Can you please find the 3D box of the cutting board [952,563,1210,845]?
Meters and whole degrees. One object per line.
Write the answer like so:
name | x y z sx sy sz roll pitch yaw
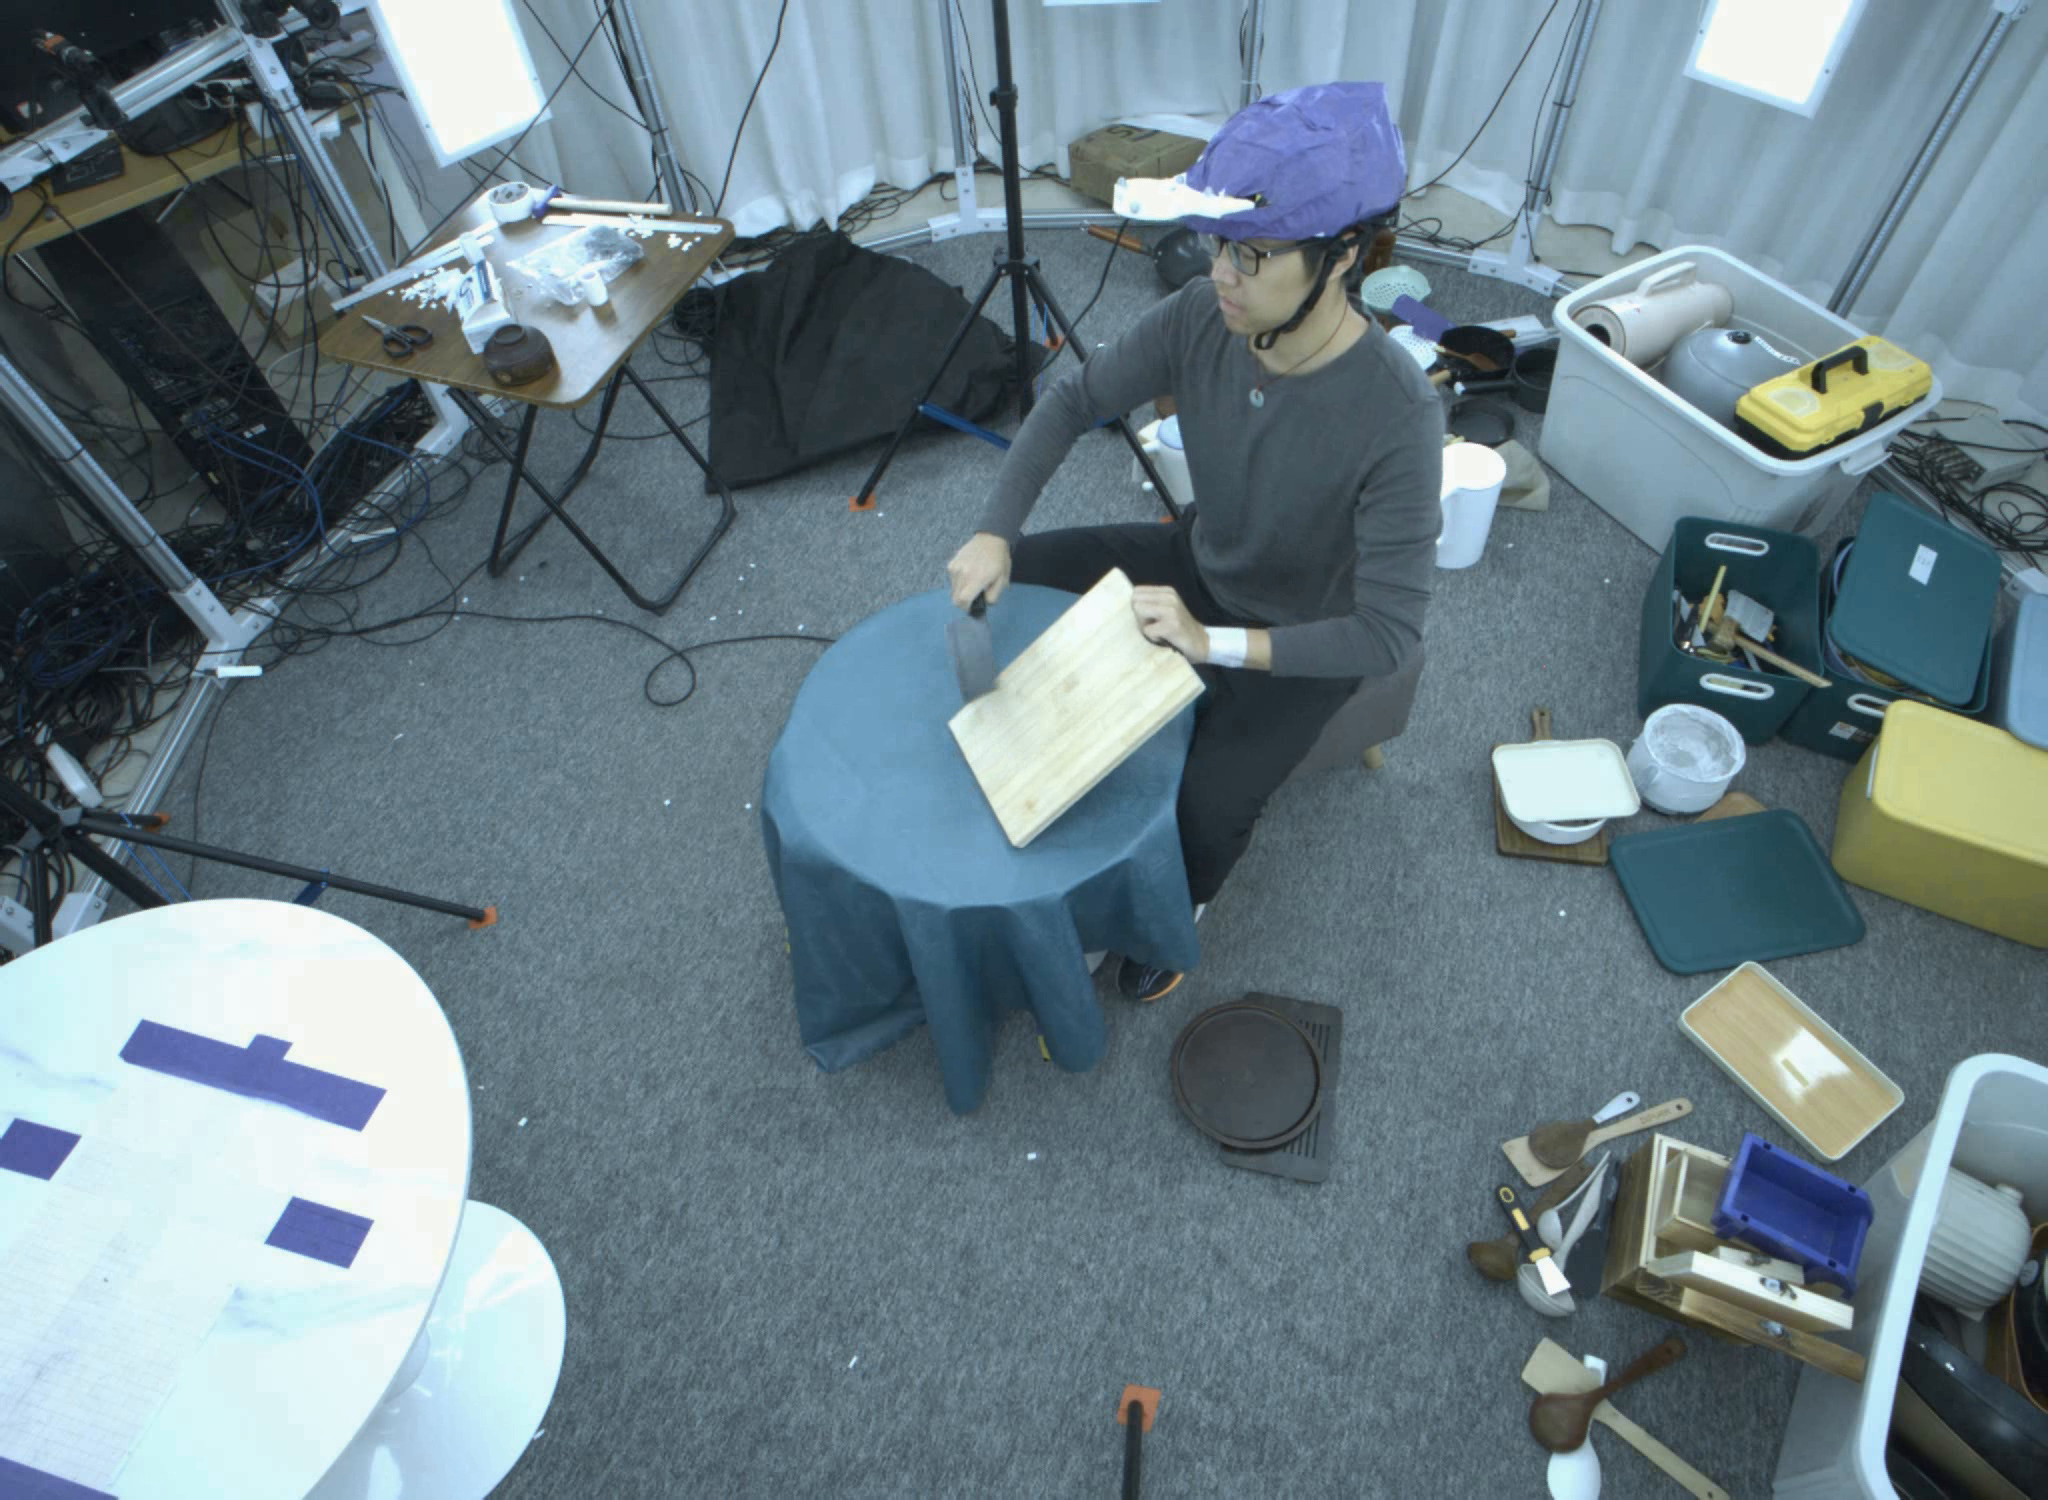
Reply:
cutting board | 0.066 -0.064 1.706 0.347 0.024 0.246 -42 56 16

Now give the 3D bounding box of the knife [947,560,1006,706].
knife | -0.075 -0.174 1.758 0.080 0.021 0.298 -22 46 14
